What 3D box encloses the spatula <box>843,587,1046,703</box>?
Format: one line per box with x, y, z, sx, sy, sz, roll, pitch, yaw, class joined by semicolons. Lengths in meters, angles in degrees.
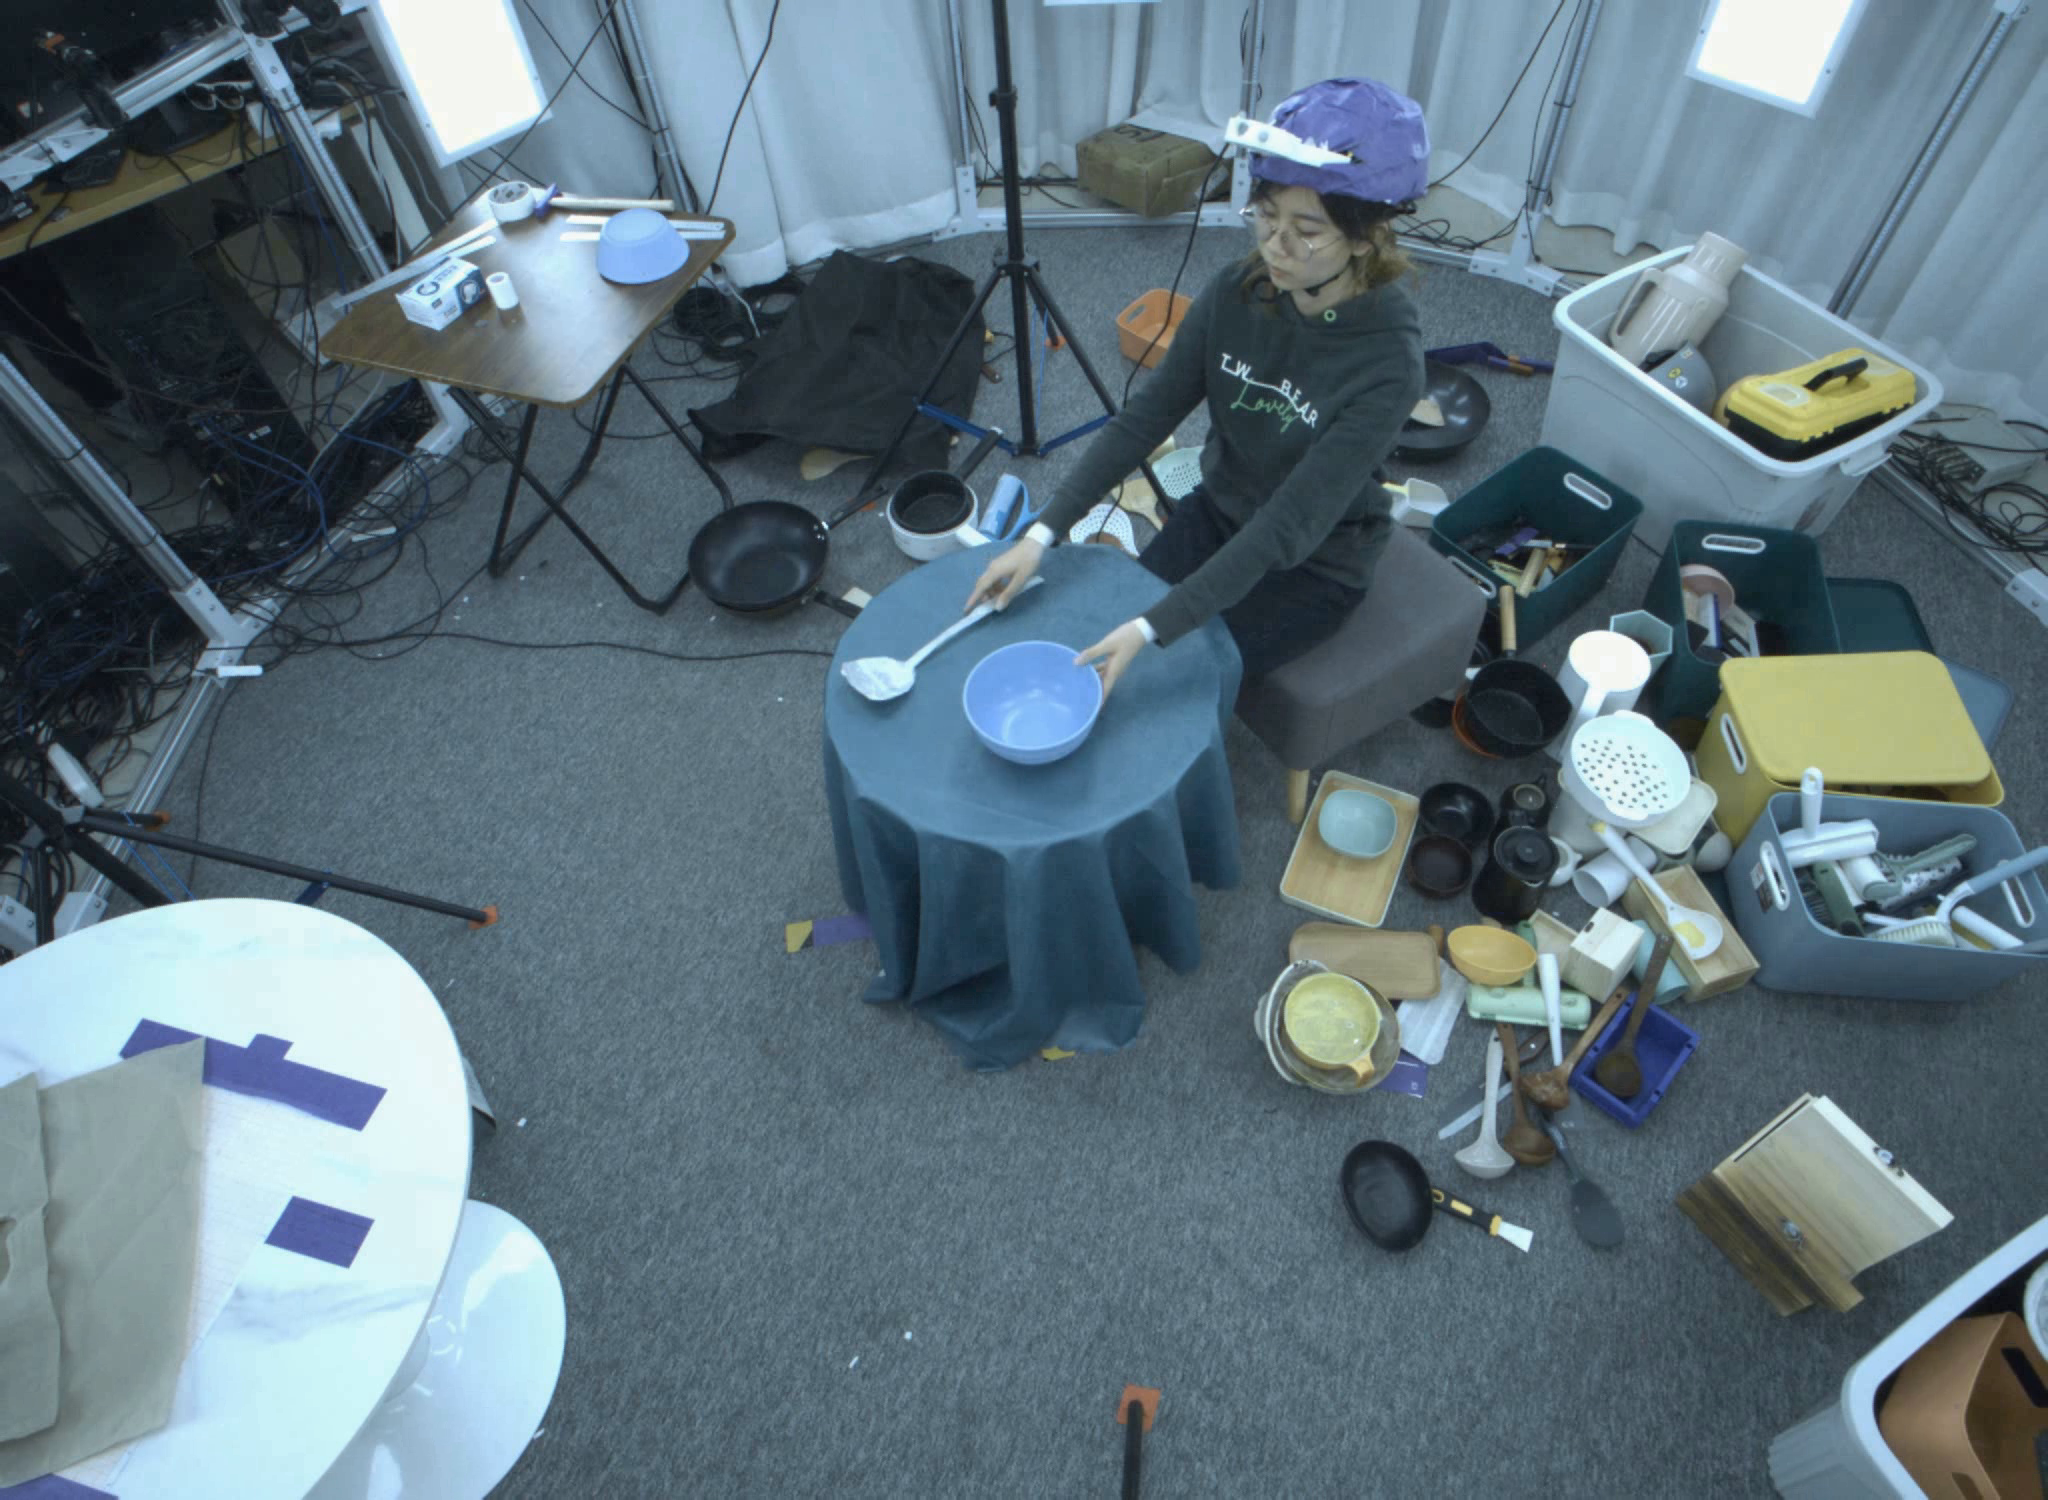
-0.113;-0.177;1.902;0.367;0.045;0.097;-35;59;-21;spatula

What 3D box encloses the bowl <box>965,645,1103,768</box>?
0.017;-0.048;1.772;0.196;0.096;0.194;-1;54;3;bowl
